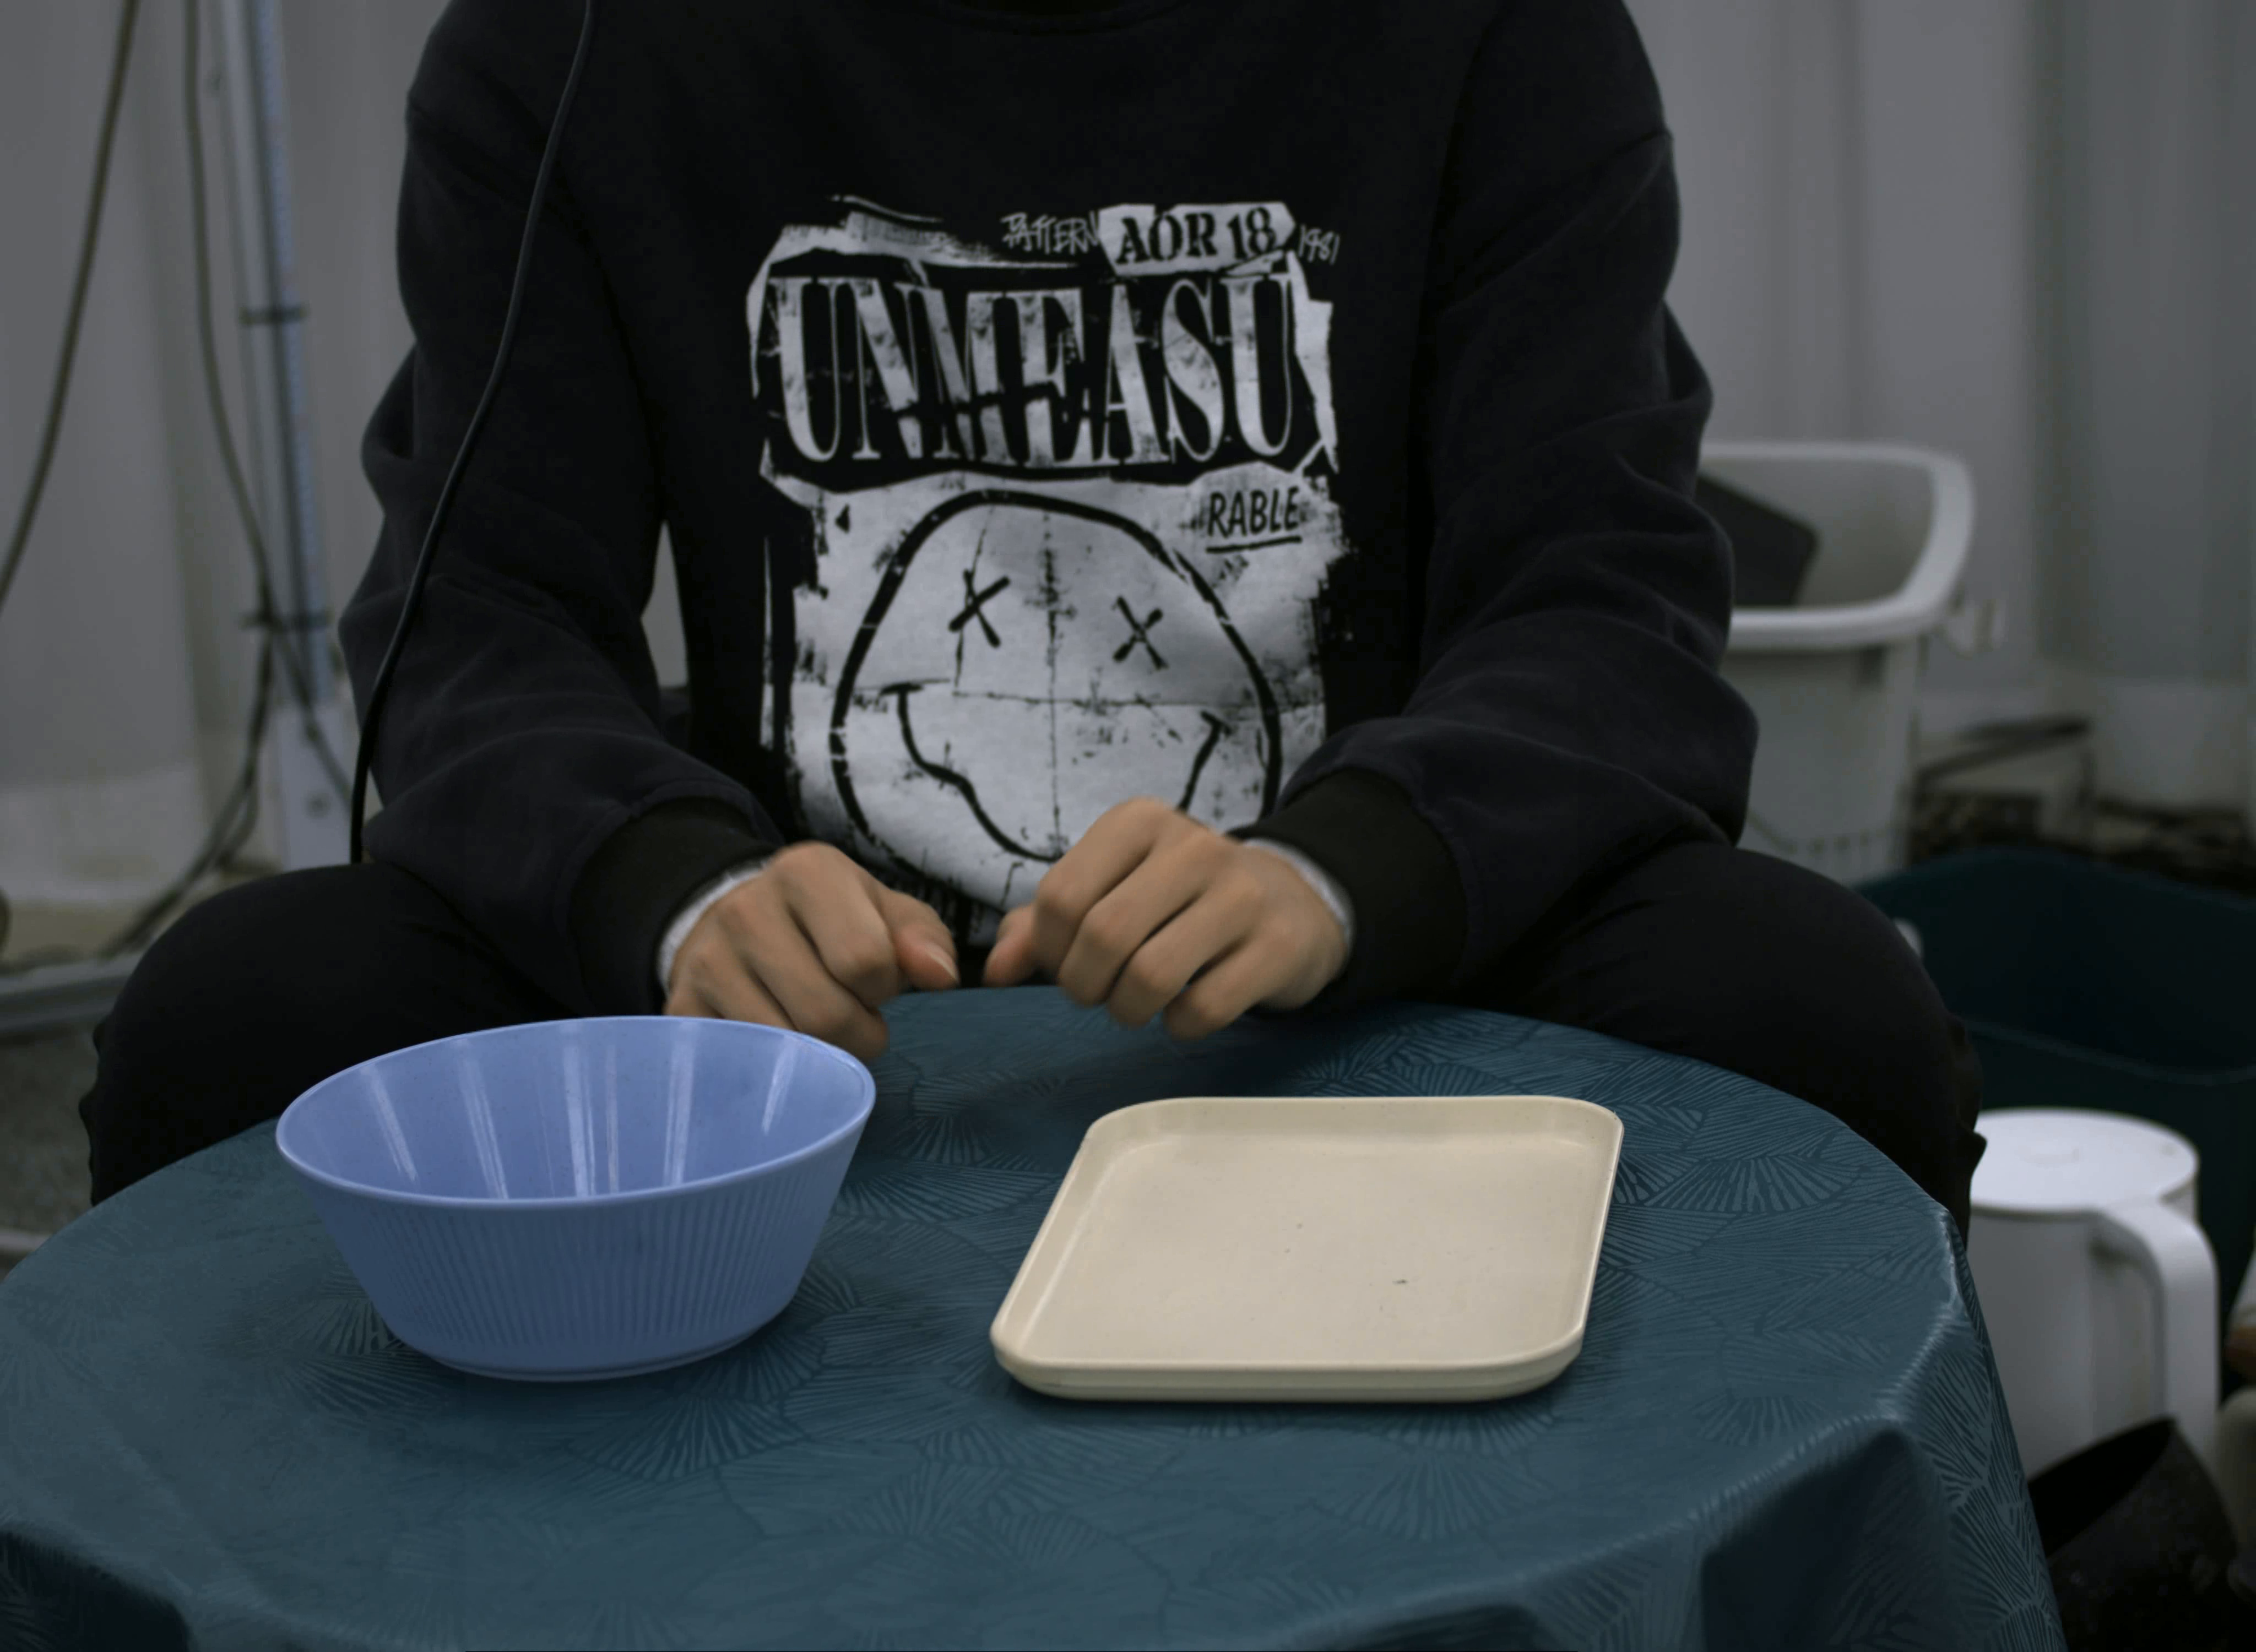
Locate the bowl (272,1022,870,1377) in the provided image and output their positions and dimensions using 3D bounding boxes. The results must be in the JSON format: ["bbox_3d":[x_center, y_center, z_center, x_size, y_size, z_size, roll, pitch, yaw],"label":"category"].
[{"bbox_3d":[-0.163,0.113,1.616,0.175,0.070,0.177,-2,14,0],"label":"bowl"}]

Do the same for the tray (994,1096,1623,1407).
[{"bbox_3d":[0.058,0.126,1.629,0.171,0.017,0.241,0,15,9],"label":"tray"}]
